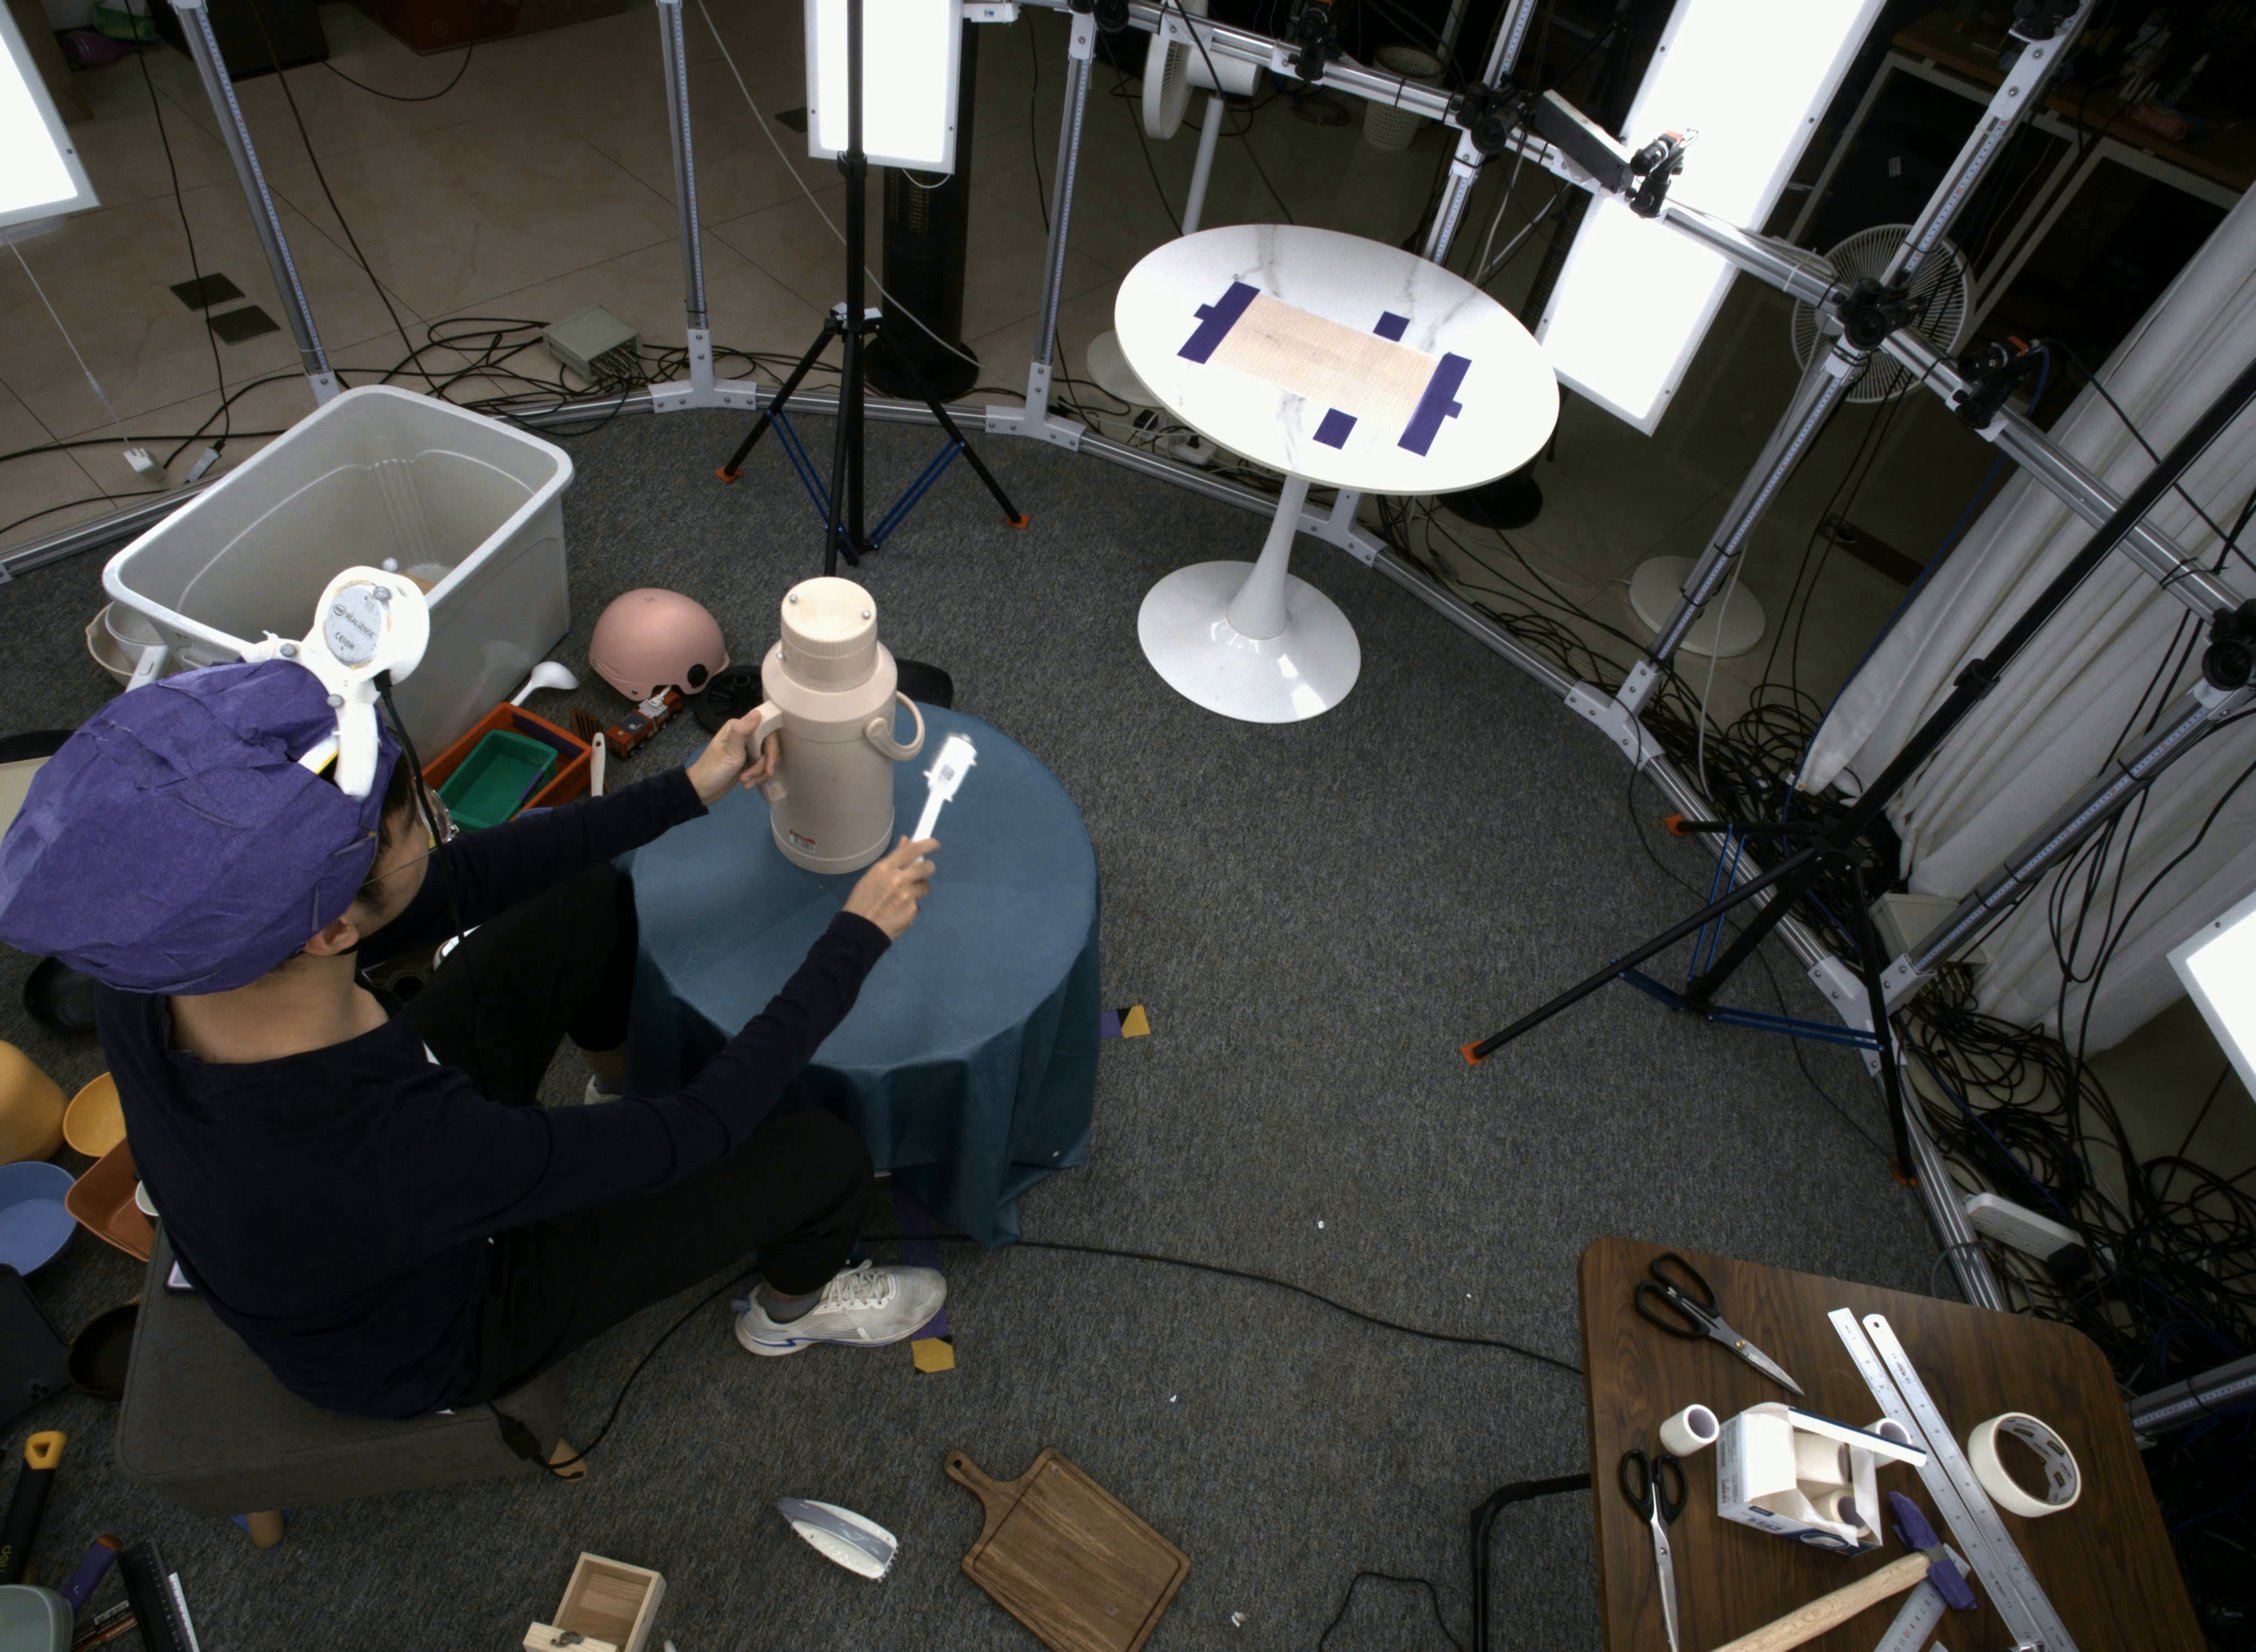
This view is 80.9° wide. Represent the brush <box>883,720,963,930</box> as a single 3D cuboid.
[{"bbox_3d":[-0.240,-0.003,1.481,0.035,0.049,0.245,19,82,-27],"label":"brush"}]

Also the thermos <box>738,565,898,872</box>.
[{"bbox_3d":[-0.376,-0.119,1.570,0.171,0.414,0.207,40,56,17],"label":"thermos"}]
